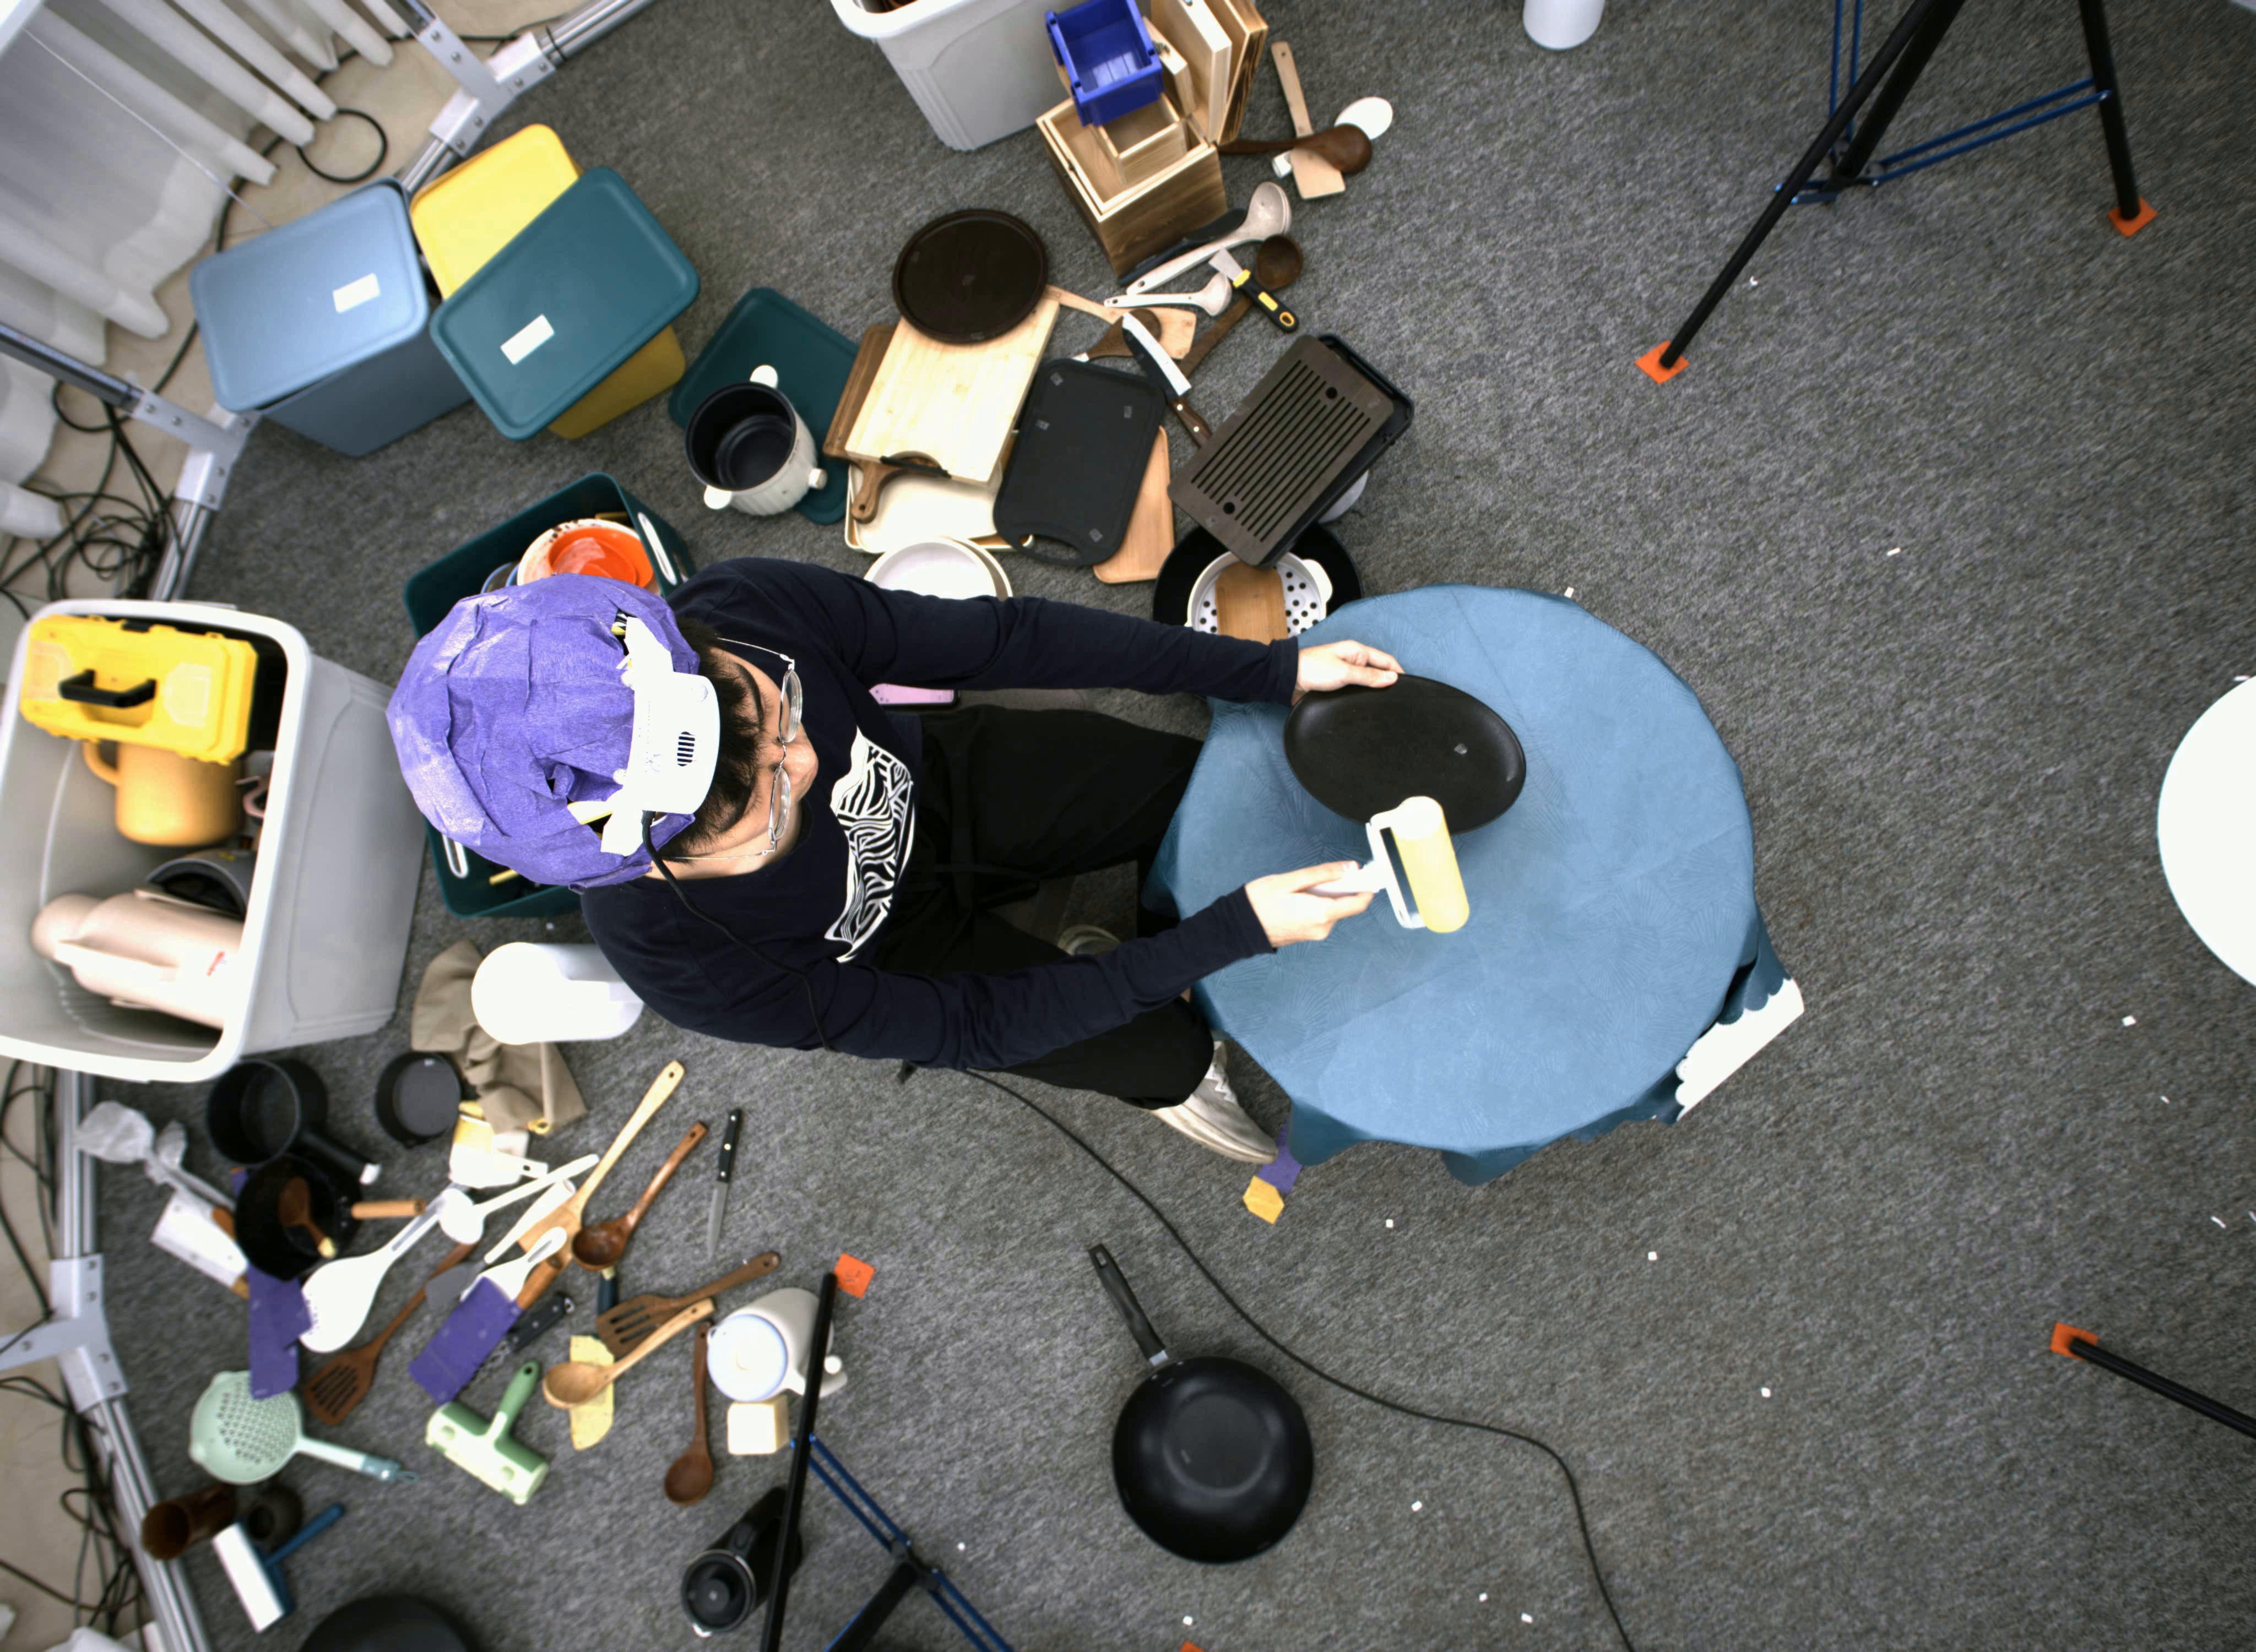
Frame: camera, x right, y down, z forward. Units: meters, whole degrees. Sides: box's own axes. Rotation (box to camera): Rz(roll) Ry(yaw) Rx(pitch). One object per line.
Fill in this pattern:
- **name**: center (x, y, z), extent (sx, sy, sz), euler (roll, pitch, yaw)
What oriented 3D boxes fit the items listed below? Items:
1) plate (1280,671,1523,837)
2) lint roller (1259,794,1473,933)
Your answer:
- **plate**: center (0.271, -0.071, 1.373), extent (0.244, 0.024, 0.238), euler (1, 47, -2)
- **lint roller**: center (0.218, 0.061, 1.301), extent (0.193, 0.177, 0.050), euler (-22, 48, 10)
